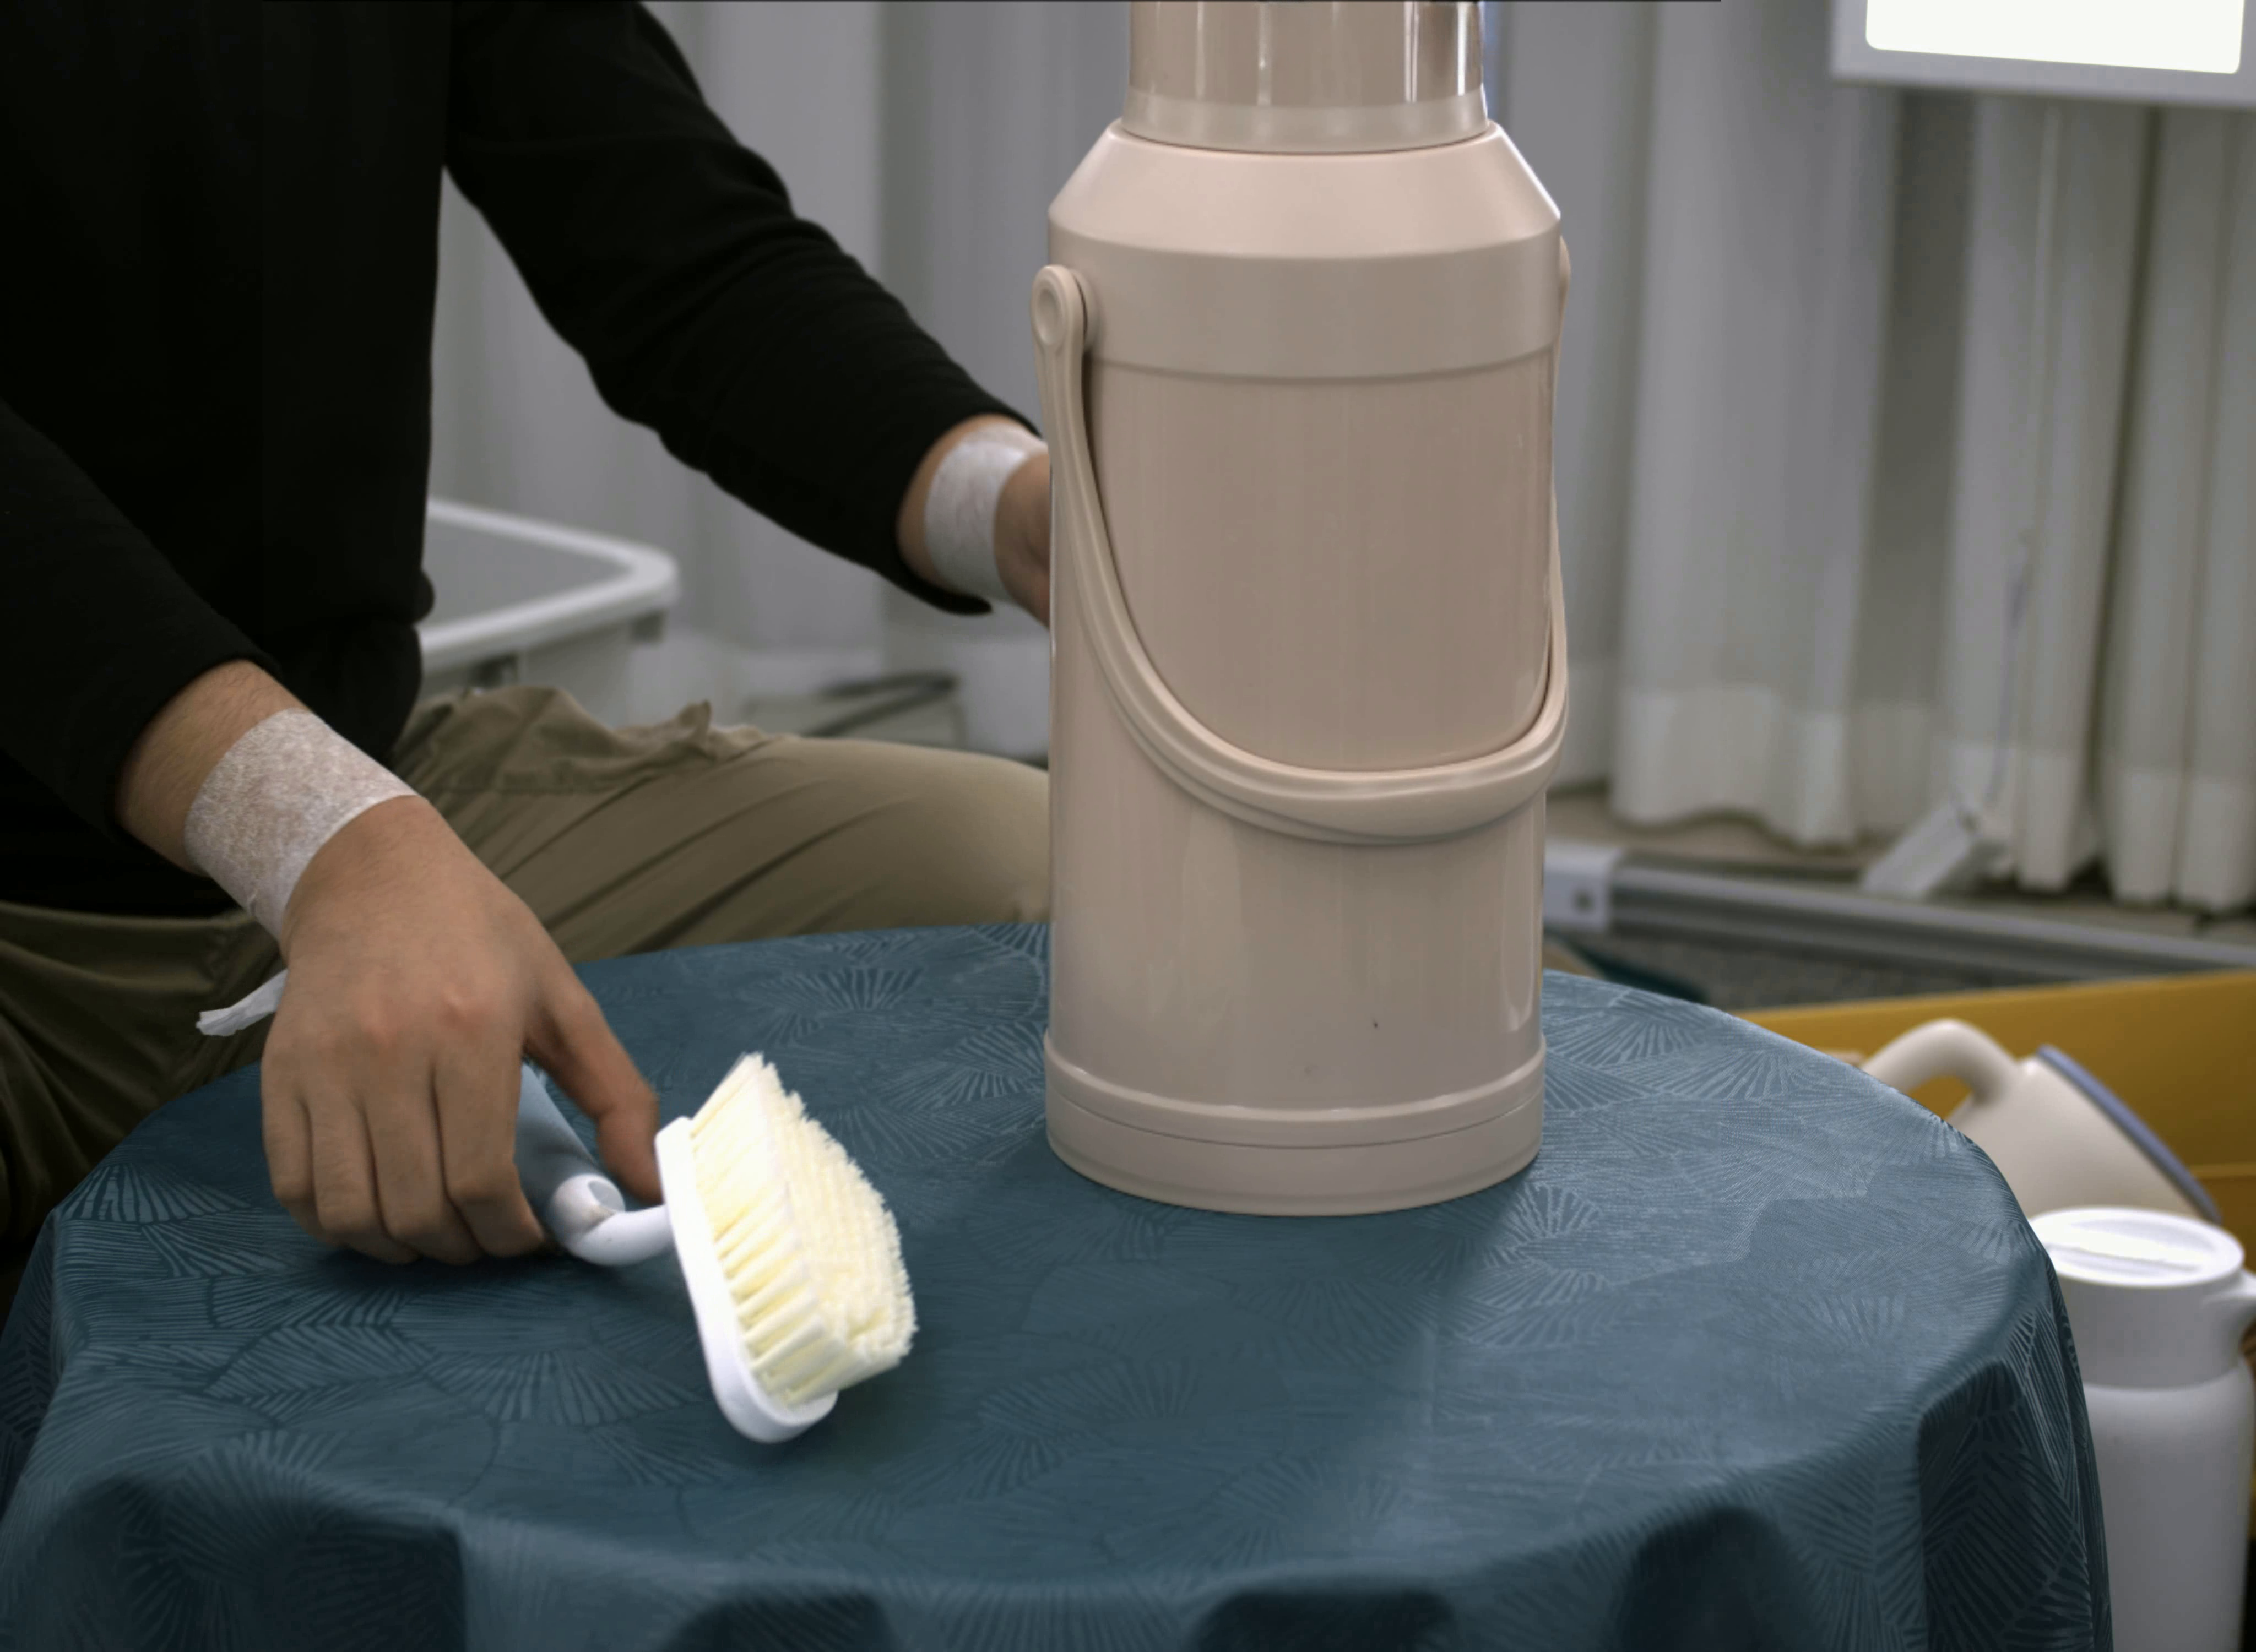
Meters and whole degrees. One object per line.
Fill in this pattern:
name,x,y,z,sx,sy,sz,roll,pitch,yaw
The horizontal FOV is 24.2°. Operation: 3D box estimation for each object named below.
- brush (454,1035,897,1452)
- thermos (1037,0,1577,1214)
brush,-0.130,0.093,1.544,0.085,0.084,0.322,-5,17,-18
thermos,0.050,-0.097,1.632,0.176,0.410,0.204,-10,19,-27
